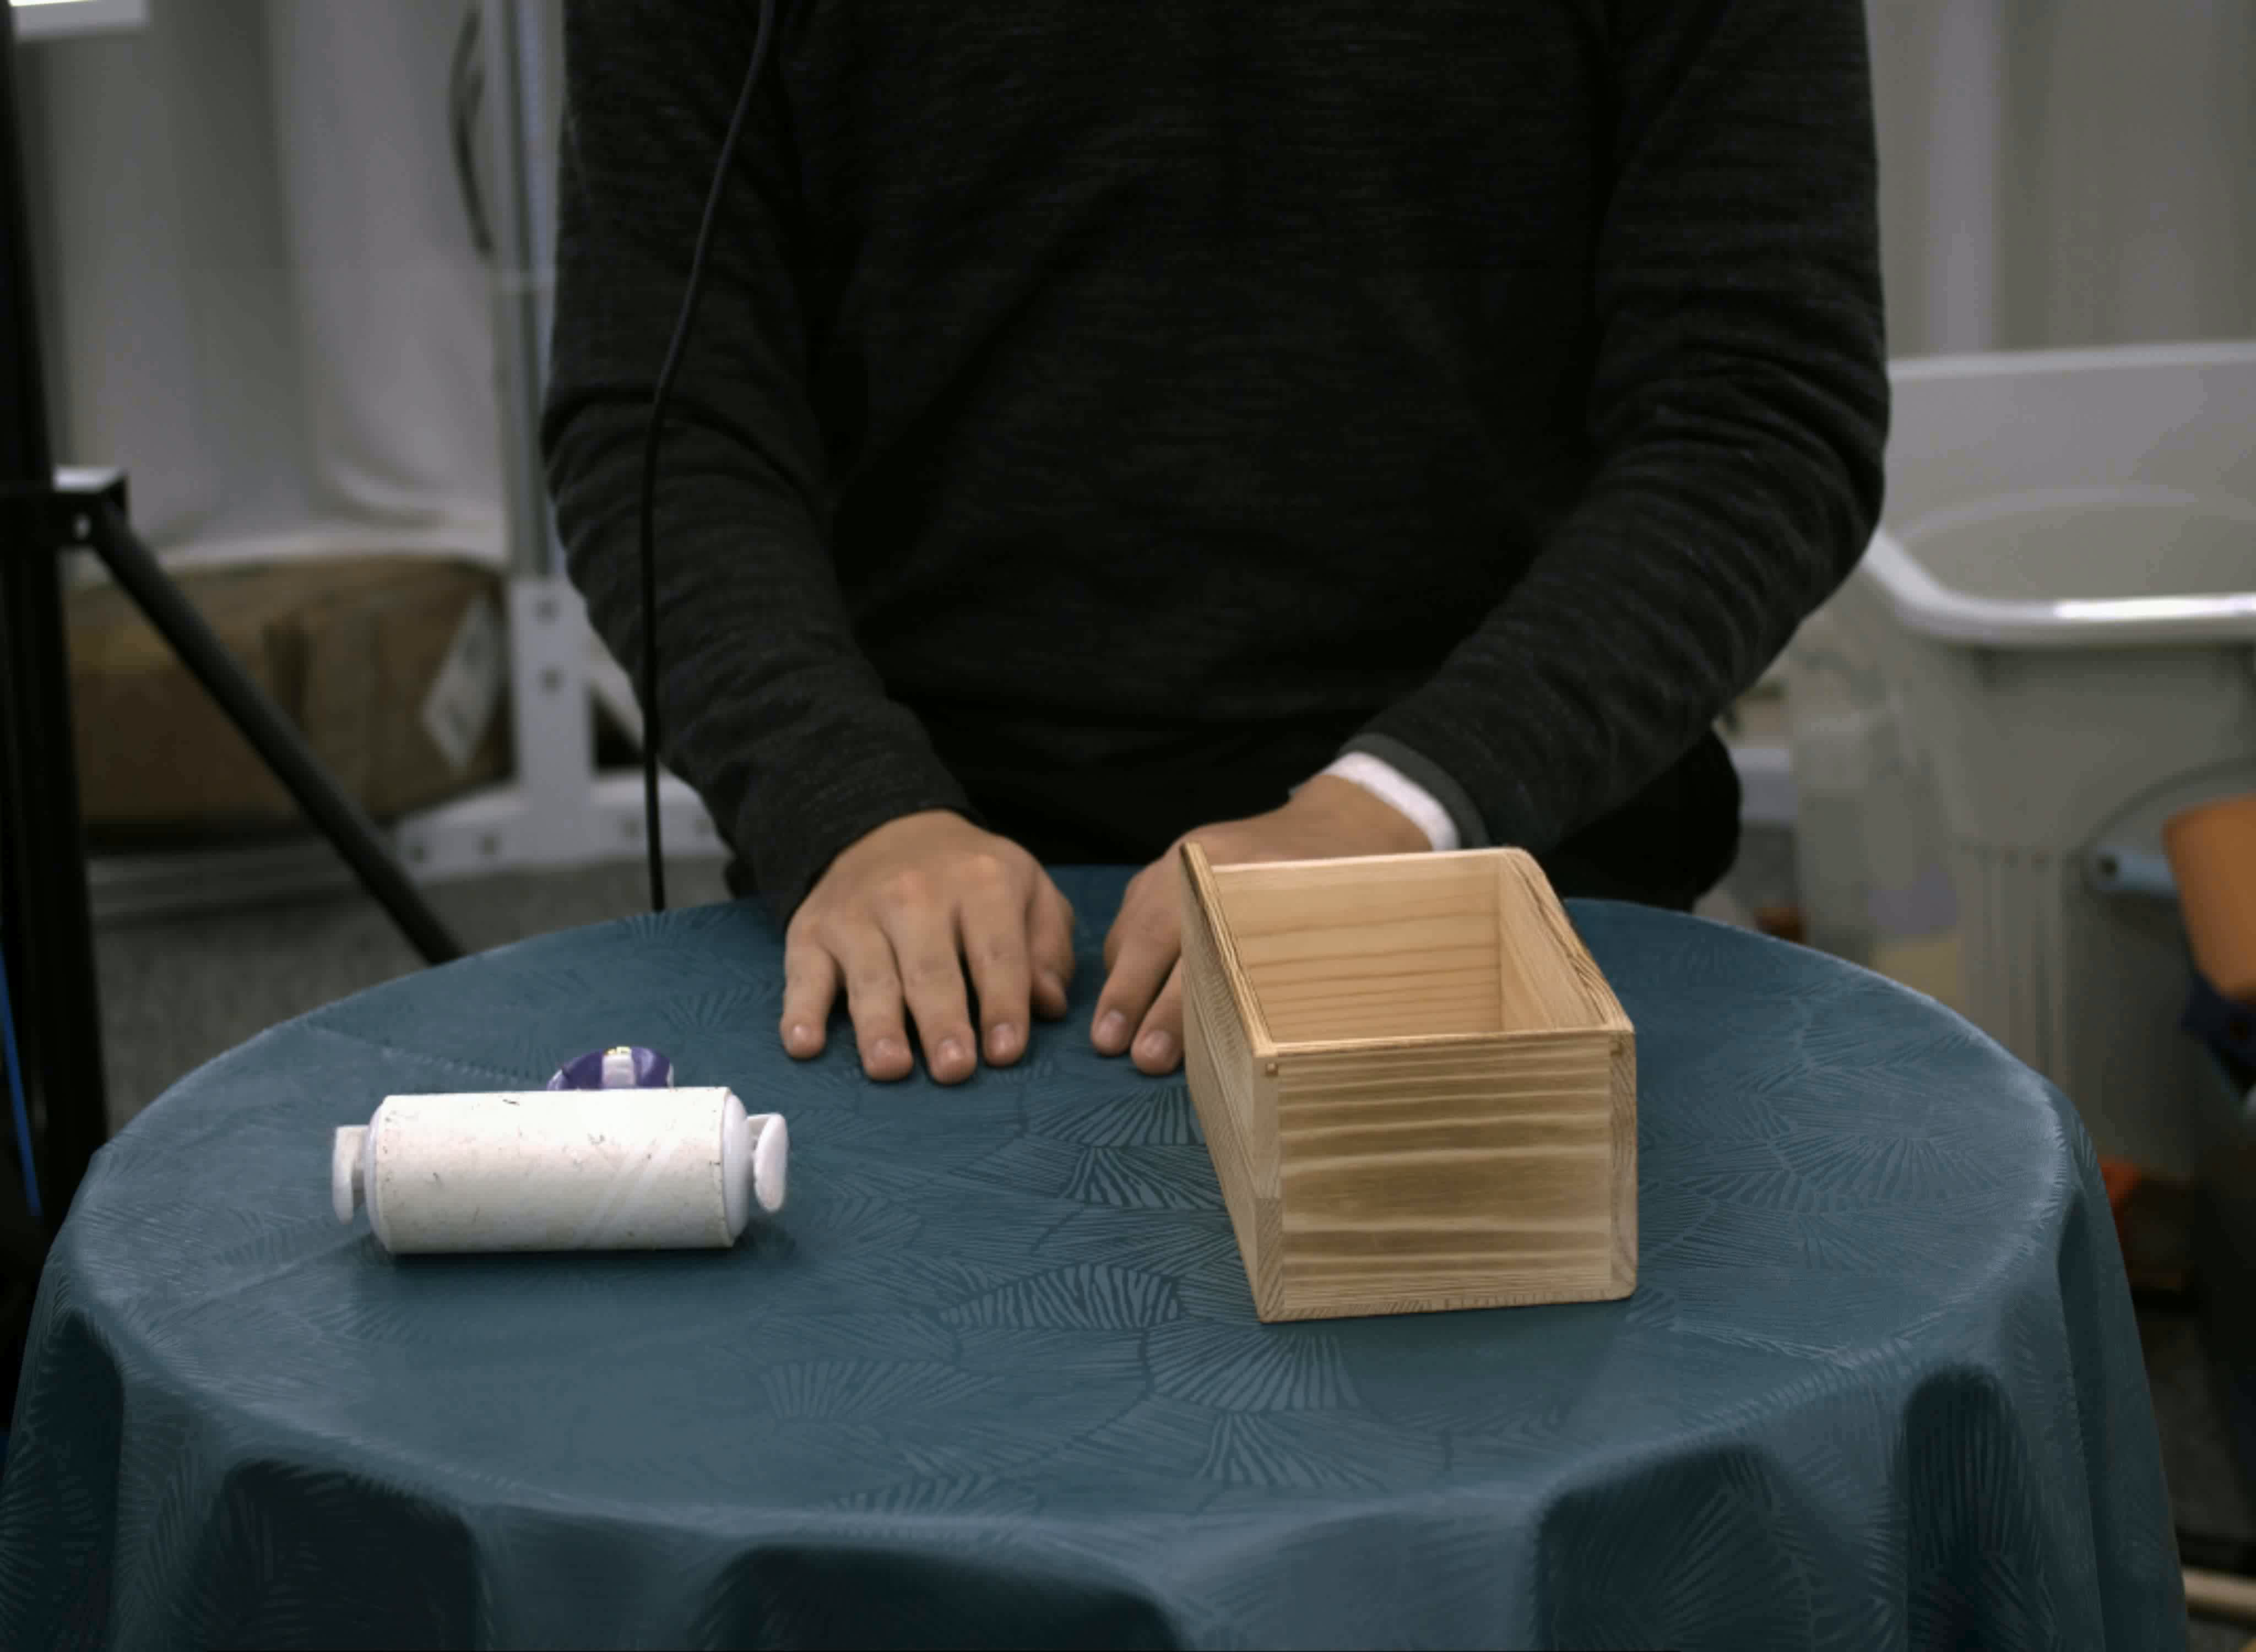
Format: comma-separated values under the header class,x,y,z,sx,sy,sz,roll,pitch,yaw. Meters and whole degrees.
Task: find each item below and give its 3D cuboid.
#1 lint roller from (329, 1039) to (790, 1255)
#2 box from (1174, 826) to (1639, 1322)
class,x,y,z,sx,sy,sz,roll,pitch,yaw
lint roller,-0.160,0.080,1.594,0.133,0.050,0.181,-2,18,5
box,0.077,0.068,1.539,0.107,0.080,0.213,-4,15,-4
